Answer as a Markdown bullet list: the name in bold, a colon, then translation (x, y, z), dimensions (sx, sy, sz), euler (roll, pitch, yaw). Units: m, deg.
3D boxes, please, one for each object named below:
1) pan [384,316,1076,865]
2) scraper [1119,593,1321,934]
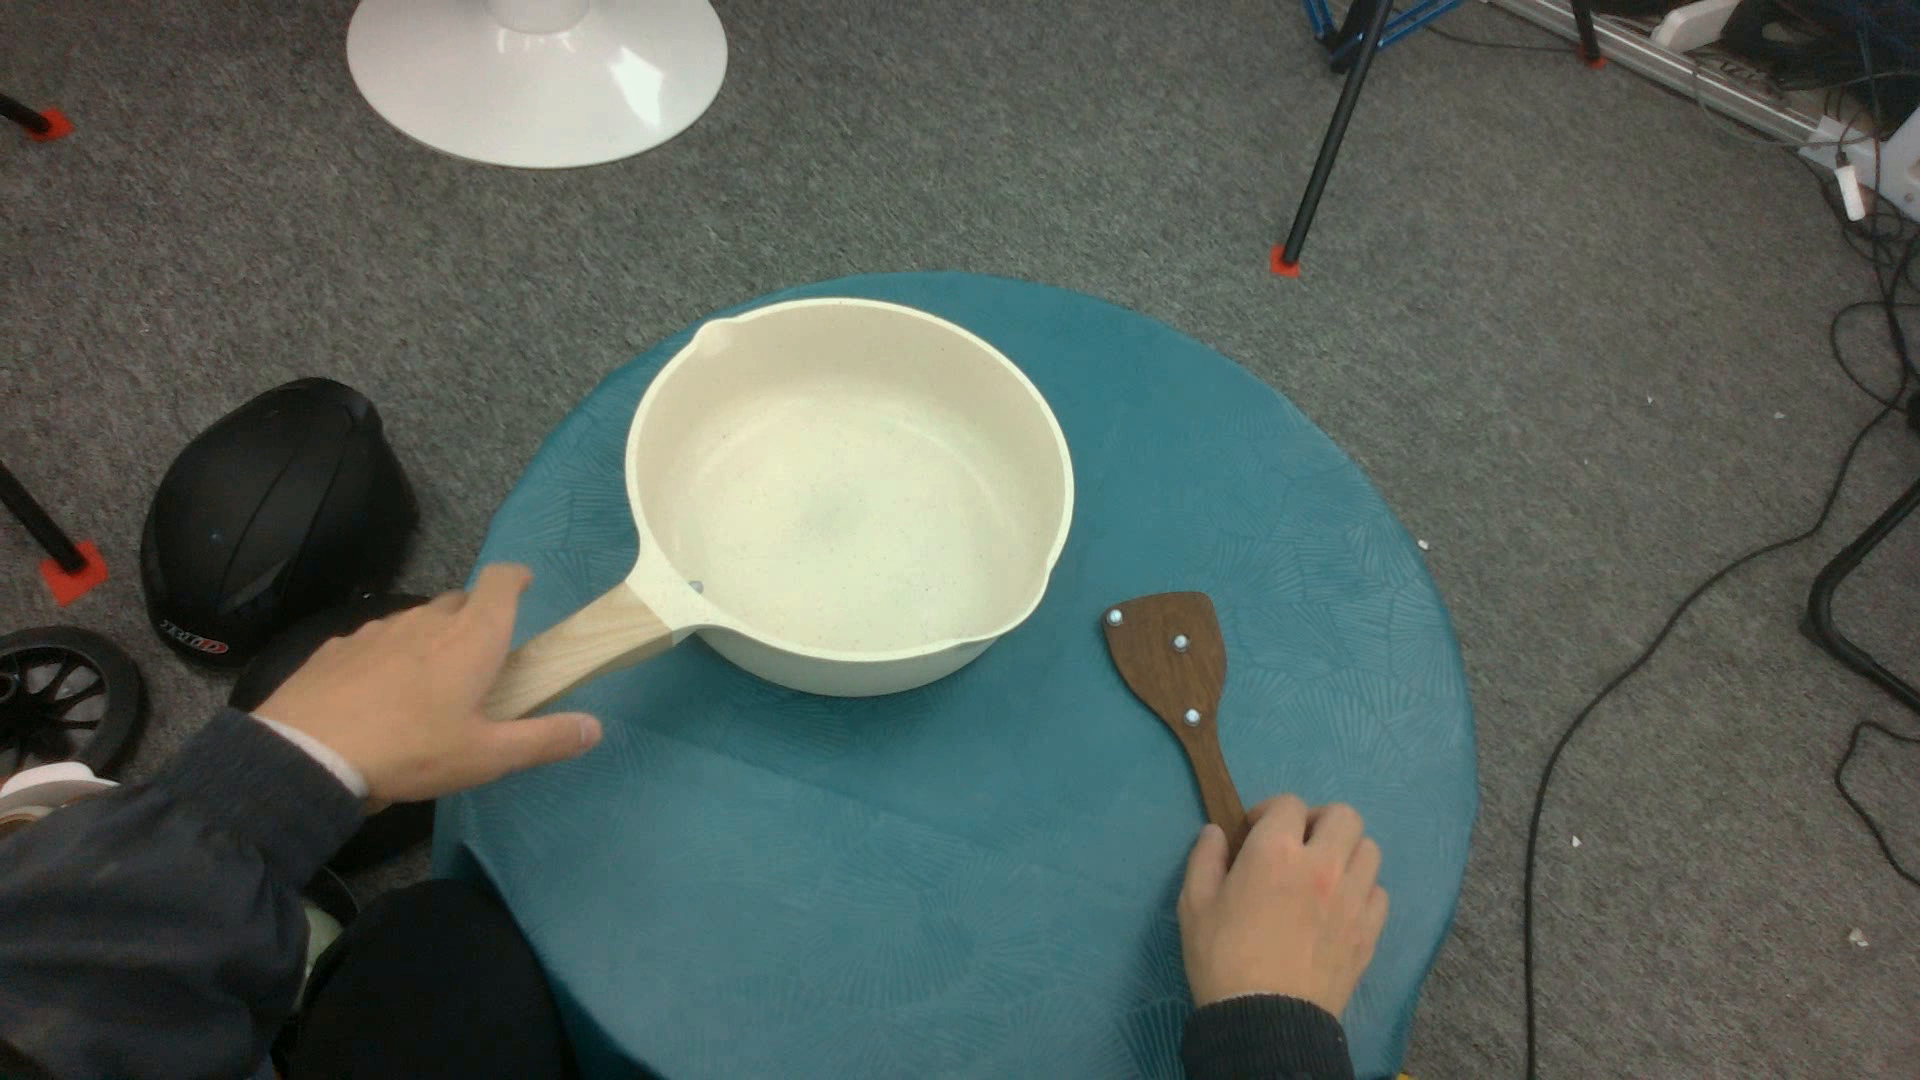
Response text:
- **pan**: translation (-0.121, 0.037, 0.770), dimensions (0.263, 0.101, 0.437), euler (40, 60, 17)
- **scraper**: translation (0.157, 0.125, 0.799), dimensions (0.076, 0.011, 0.212), euler (-10, 58, -13)
